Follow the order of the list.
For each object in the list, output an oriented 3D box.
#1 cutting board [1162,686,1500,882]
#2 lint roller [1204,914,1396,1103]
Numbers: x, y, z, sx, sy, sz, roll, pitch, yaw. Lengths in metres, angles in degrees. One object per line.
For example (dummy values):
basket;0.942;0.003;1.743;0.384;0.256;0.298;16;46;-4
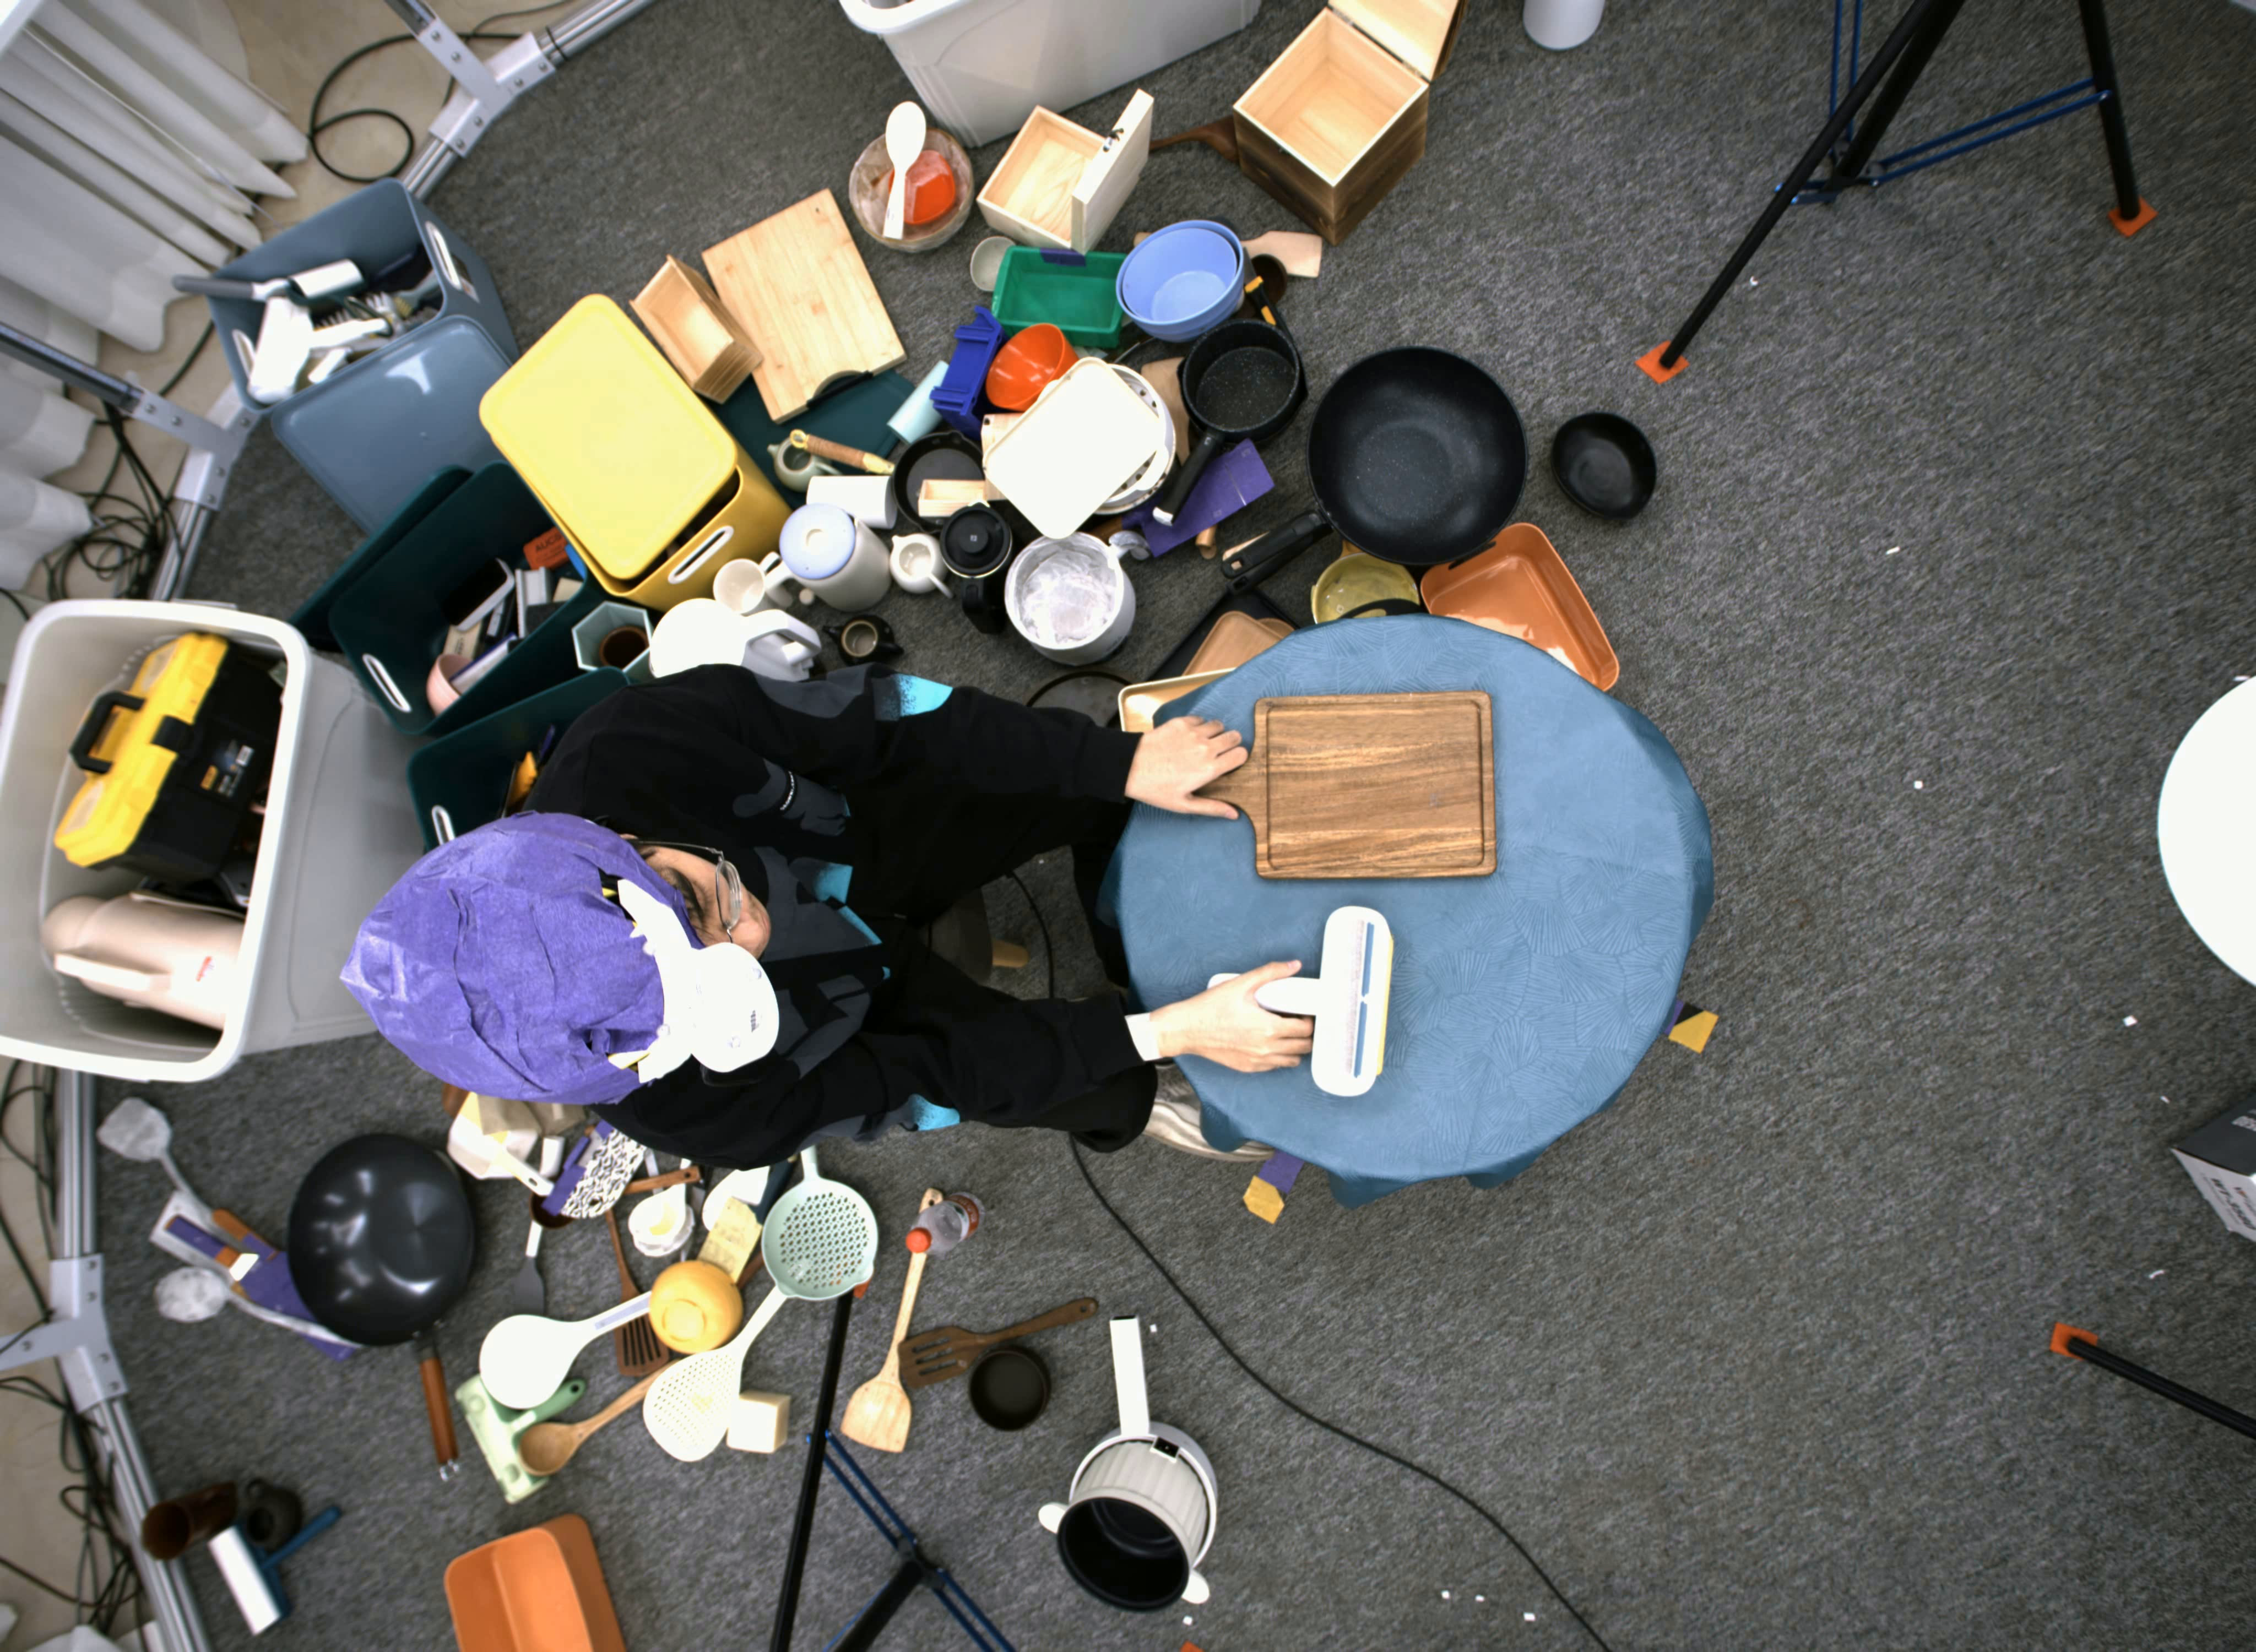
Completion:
cutting board;0.211;-0.043;1.462;0.353;0.023;0.200;-2;87;10
lint roller;0.171;0.177;1.434;0.193;0.074;0.191;9;83;12
